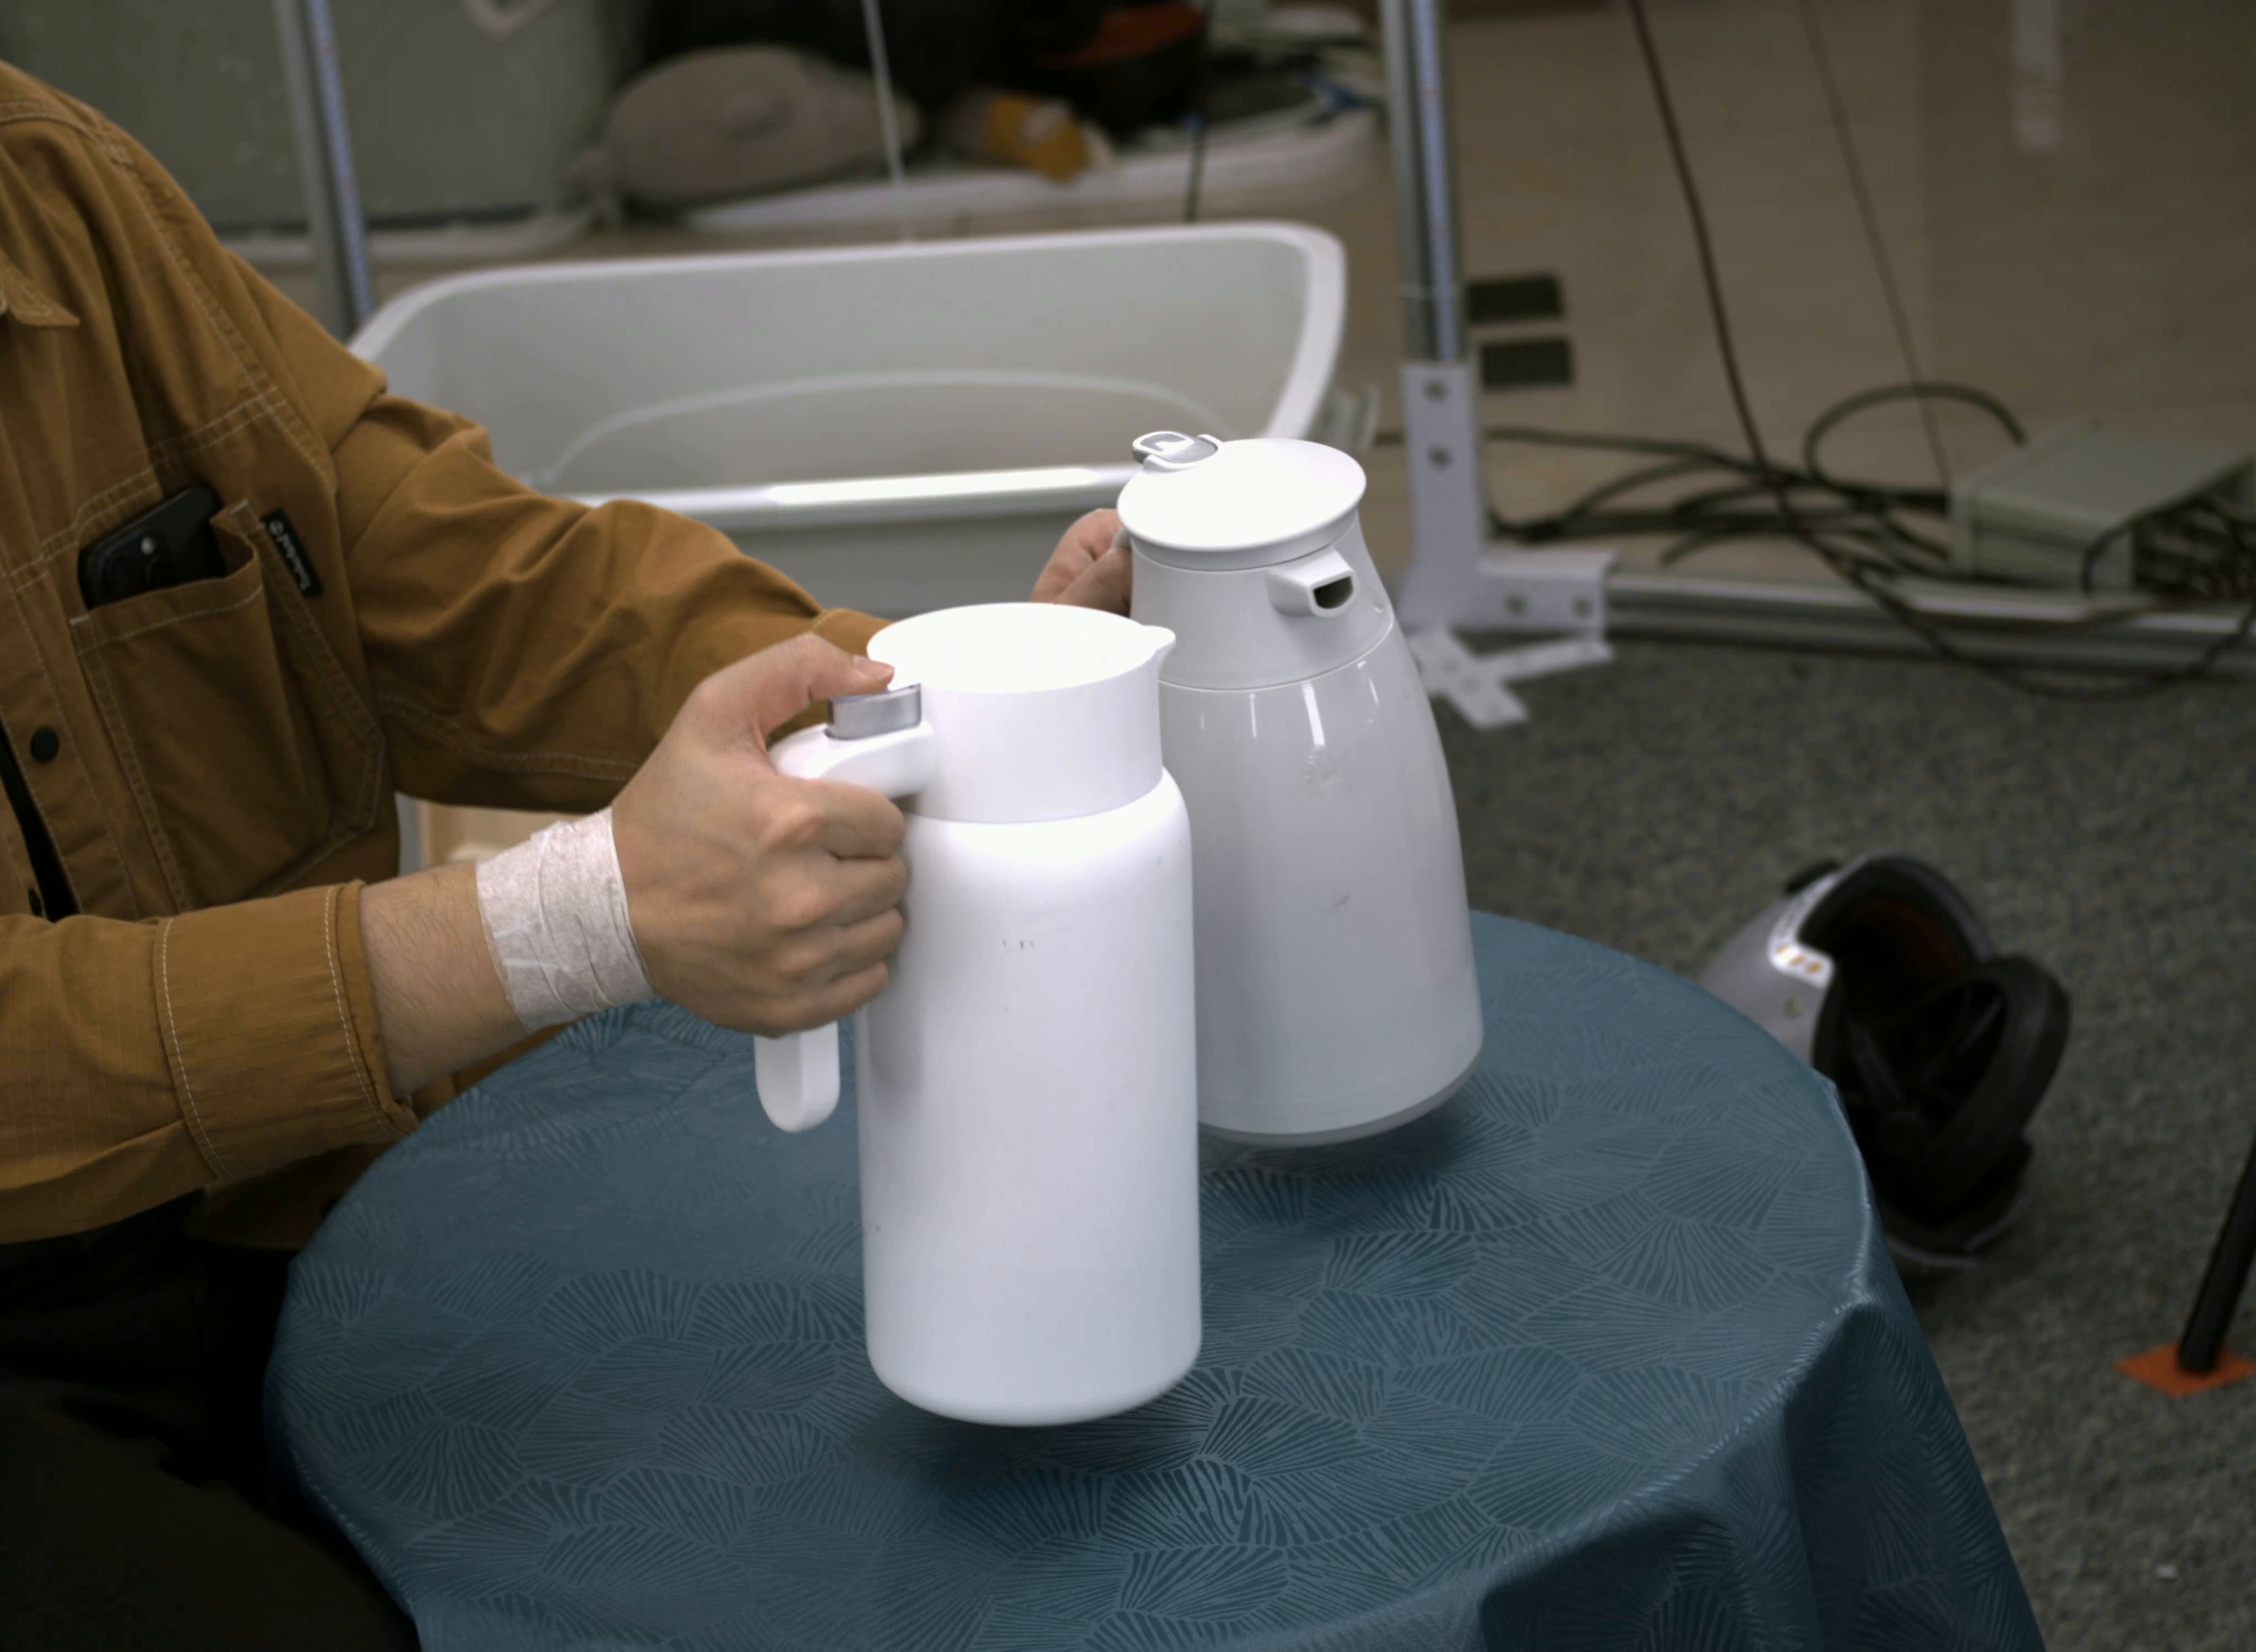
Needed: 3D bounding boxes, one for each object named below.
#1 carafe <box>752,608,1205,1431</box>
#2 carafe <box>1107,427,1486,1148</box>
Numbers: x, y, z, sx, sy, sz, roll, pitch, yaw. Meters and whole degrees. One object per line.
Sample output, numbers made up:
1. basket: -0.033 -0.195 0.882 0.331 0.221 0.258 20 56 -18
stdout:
1. carafe: -0.047 0.070 1.930 0.172 0.273 0.123 -18 28 -36
2. carafe: 0.046 -0.025 2.121 0.132 0.253 0.166 -22 30 -24
